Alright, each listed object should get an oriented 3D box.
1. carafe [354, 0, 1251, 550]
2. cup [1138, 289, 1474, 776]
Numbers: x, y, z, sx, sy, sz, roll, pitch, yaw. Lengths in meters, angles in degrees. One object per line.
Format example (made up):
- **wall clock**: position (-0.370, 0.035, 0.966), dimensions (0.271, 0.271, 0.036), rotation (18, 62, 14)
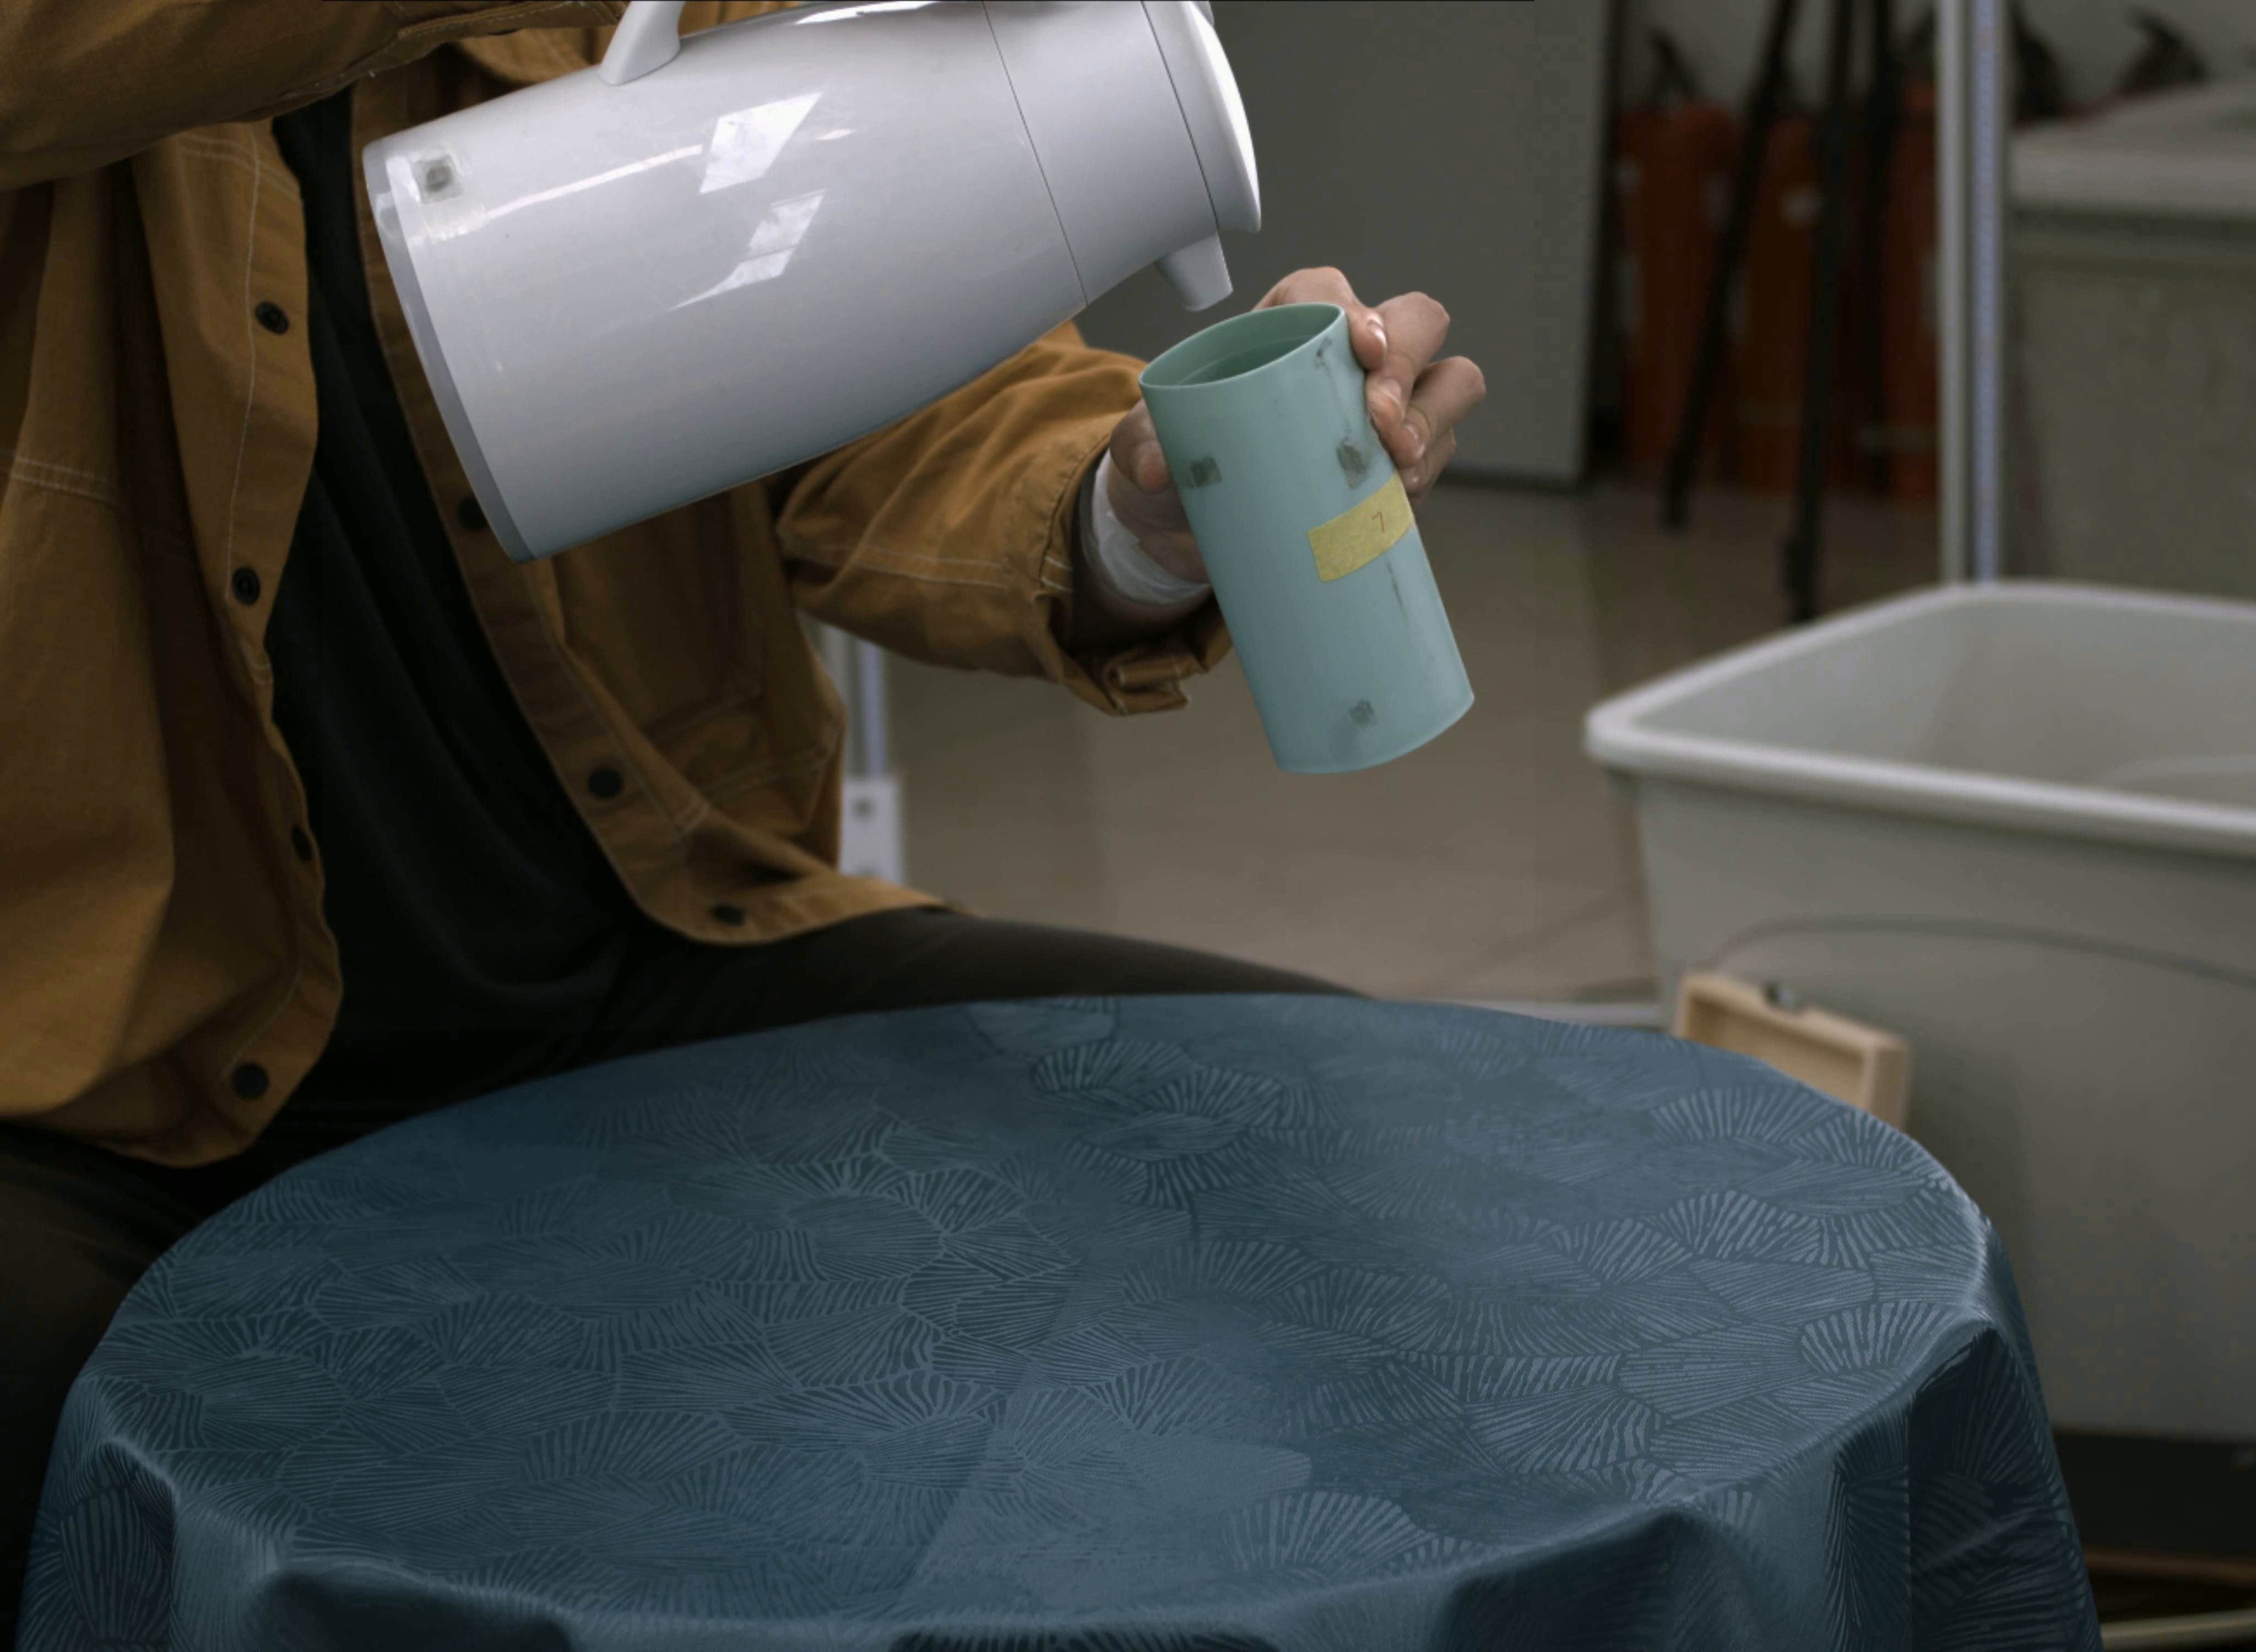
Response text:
- **carafe**: position (-0.093, -0.200, 1.570), dimensions (0.246, 0.168, 0.133), rotation (-20, 26, 3)
- **cup**: position (0.054, -0.088, 1.628), dimensions (0.066, 0.133, 0.067), rotation (-18, 18, 5)
